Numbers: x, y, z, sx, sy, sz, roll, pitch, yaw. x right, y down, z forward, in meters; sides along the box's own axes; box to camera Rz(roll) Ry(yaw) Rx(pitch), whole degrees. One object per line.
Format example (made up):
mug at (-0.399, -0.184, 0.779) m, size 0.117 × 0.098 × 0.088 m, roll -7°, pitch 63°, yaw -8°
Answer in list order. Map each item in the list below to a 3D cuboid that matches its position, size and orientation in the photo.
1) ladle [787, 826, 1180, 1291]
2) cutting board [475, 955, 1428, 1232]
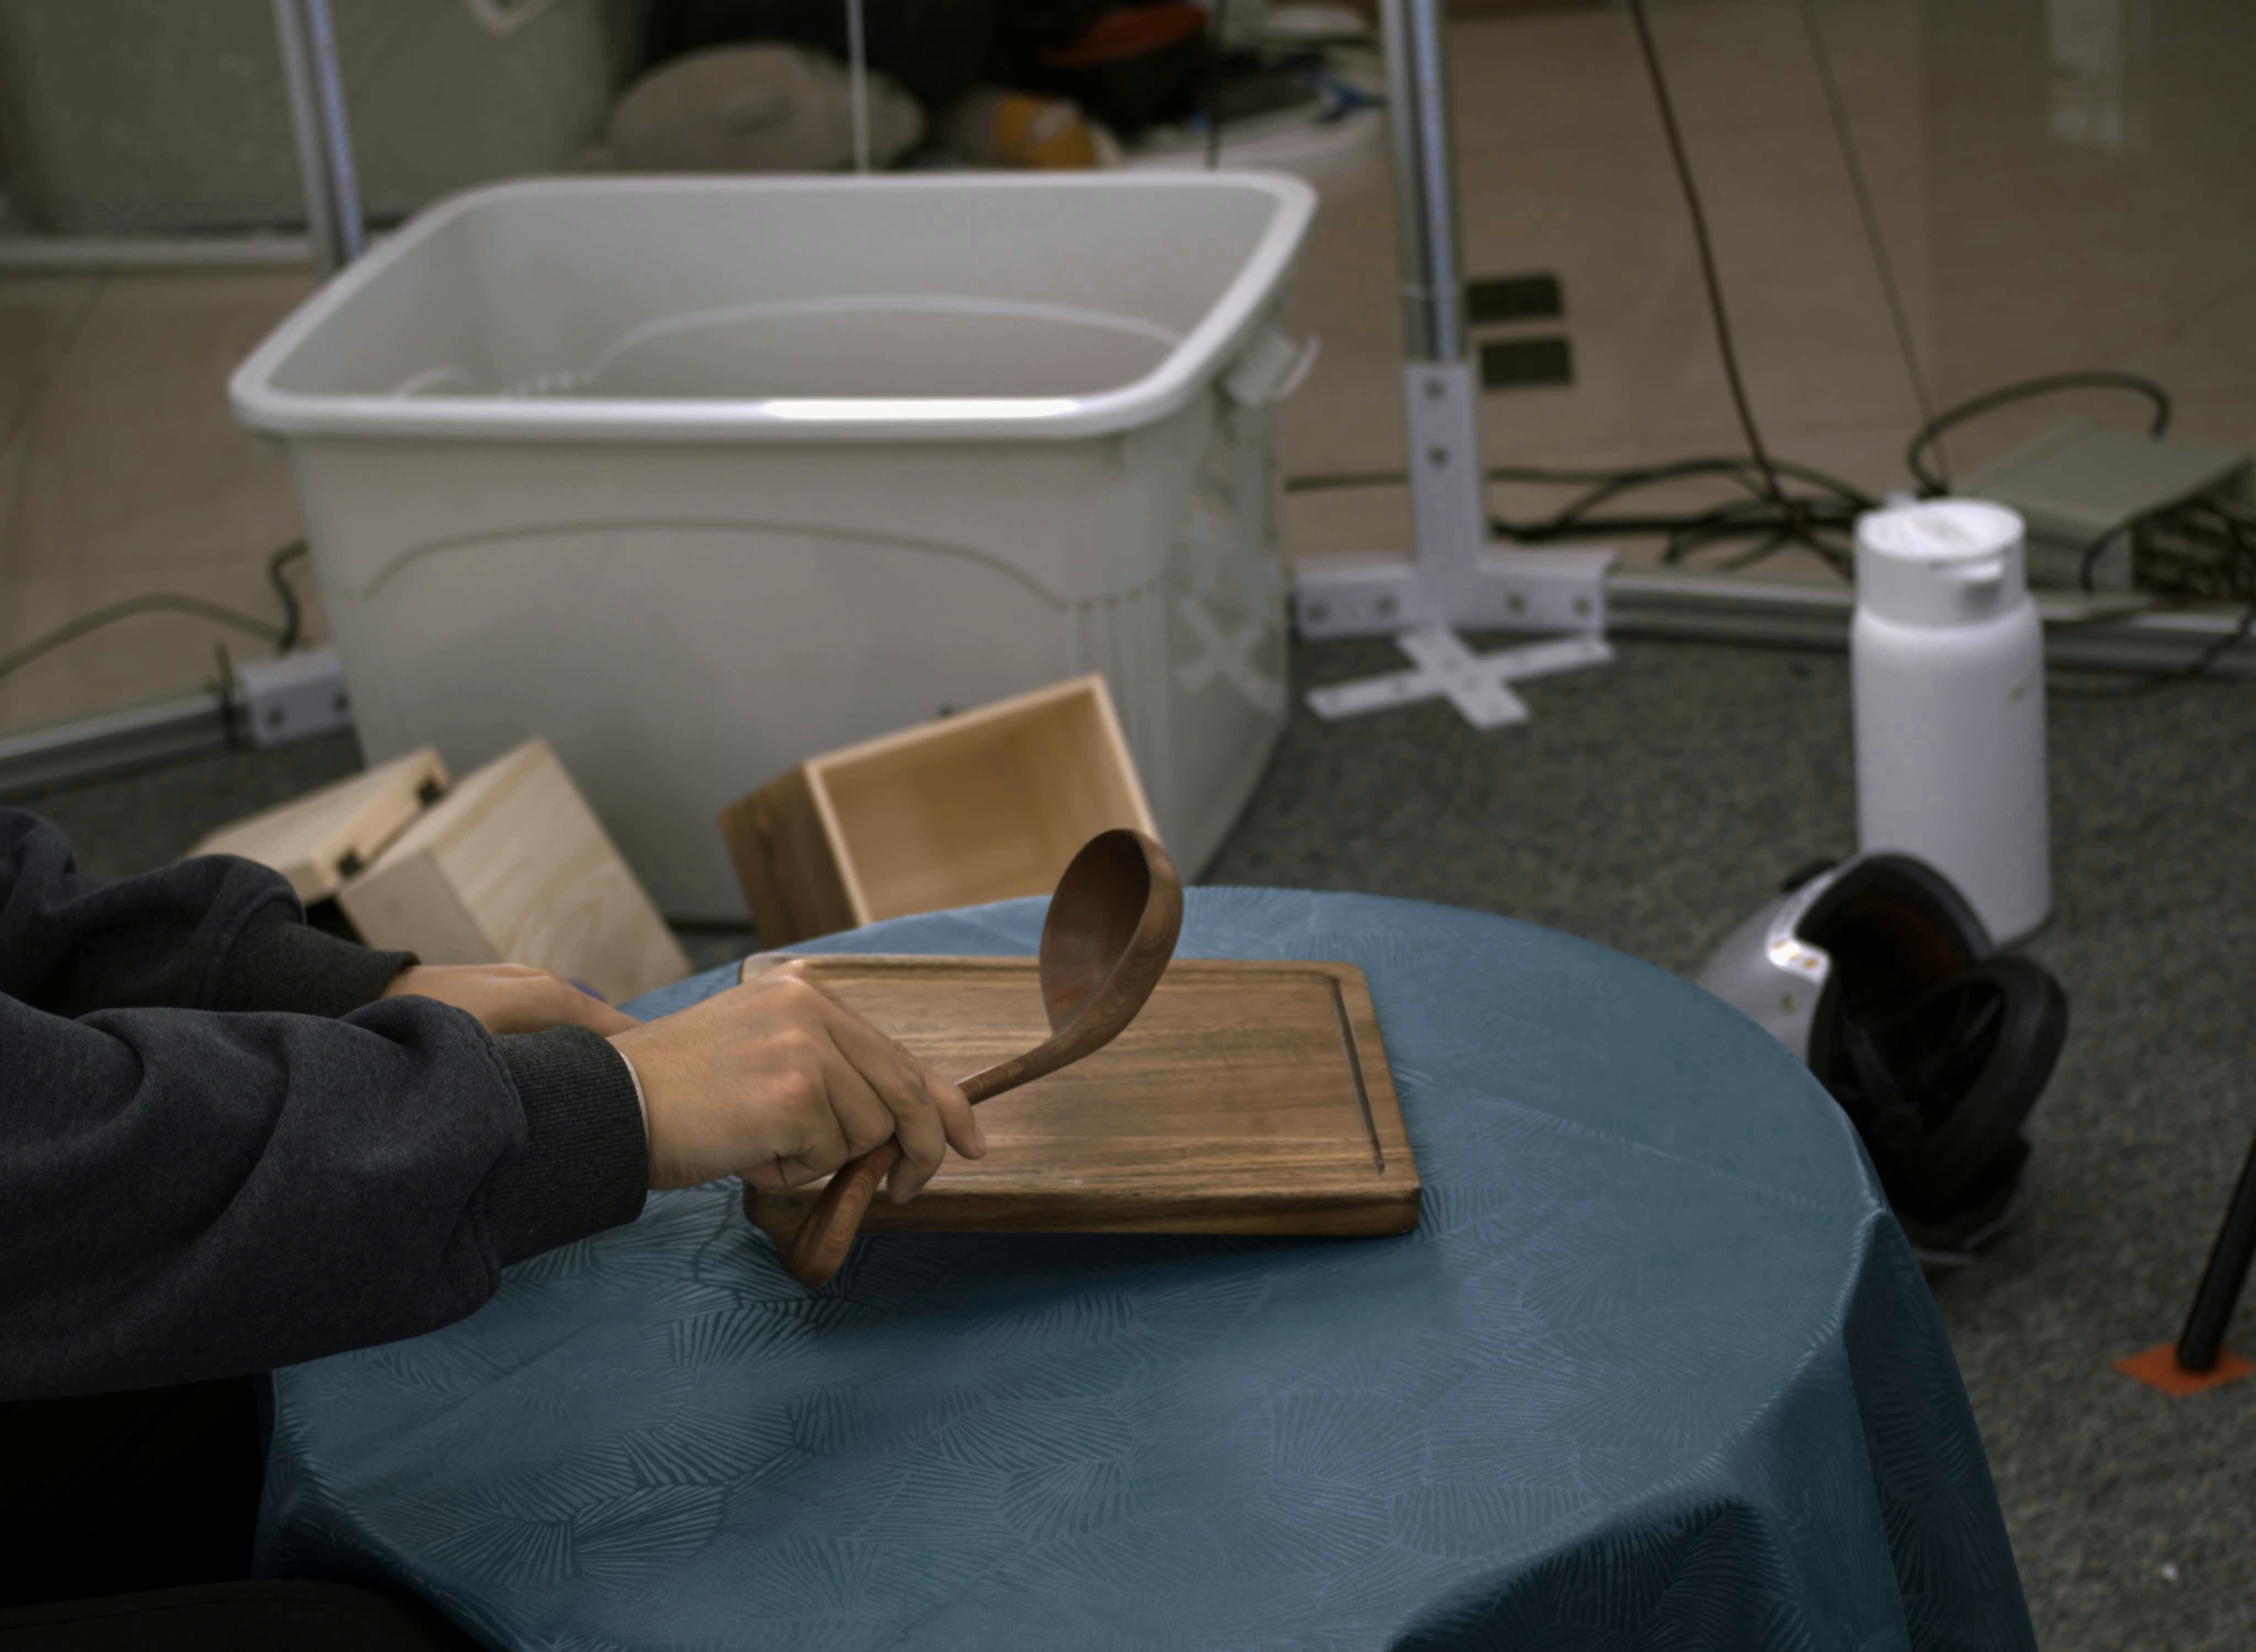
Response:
ladle at (-0.060, 0.081, 2.037) m, size 0.065 × 0.077 × 0.257 m, roll 47°, pitch 44°, yaw 5°
cutting board at (-0.072, 0.099, 2.159) m, size 0.351 × 0.023 × 0.198 m, roll 1°, pitch 24°, yaw -6°
